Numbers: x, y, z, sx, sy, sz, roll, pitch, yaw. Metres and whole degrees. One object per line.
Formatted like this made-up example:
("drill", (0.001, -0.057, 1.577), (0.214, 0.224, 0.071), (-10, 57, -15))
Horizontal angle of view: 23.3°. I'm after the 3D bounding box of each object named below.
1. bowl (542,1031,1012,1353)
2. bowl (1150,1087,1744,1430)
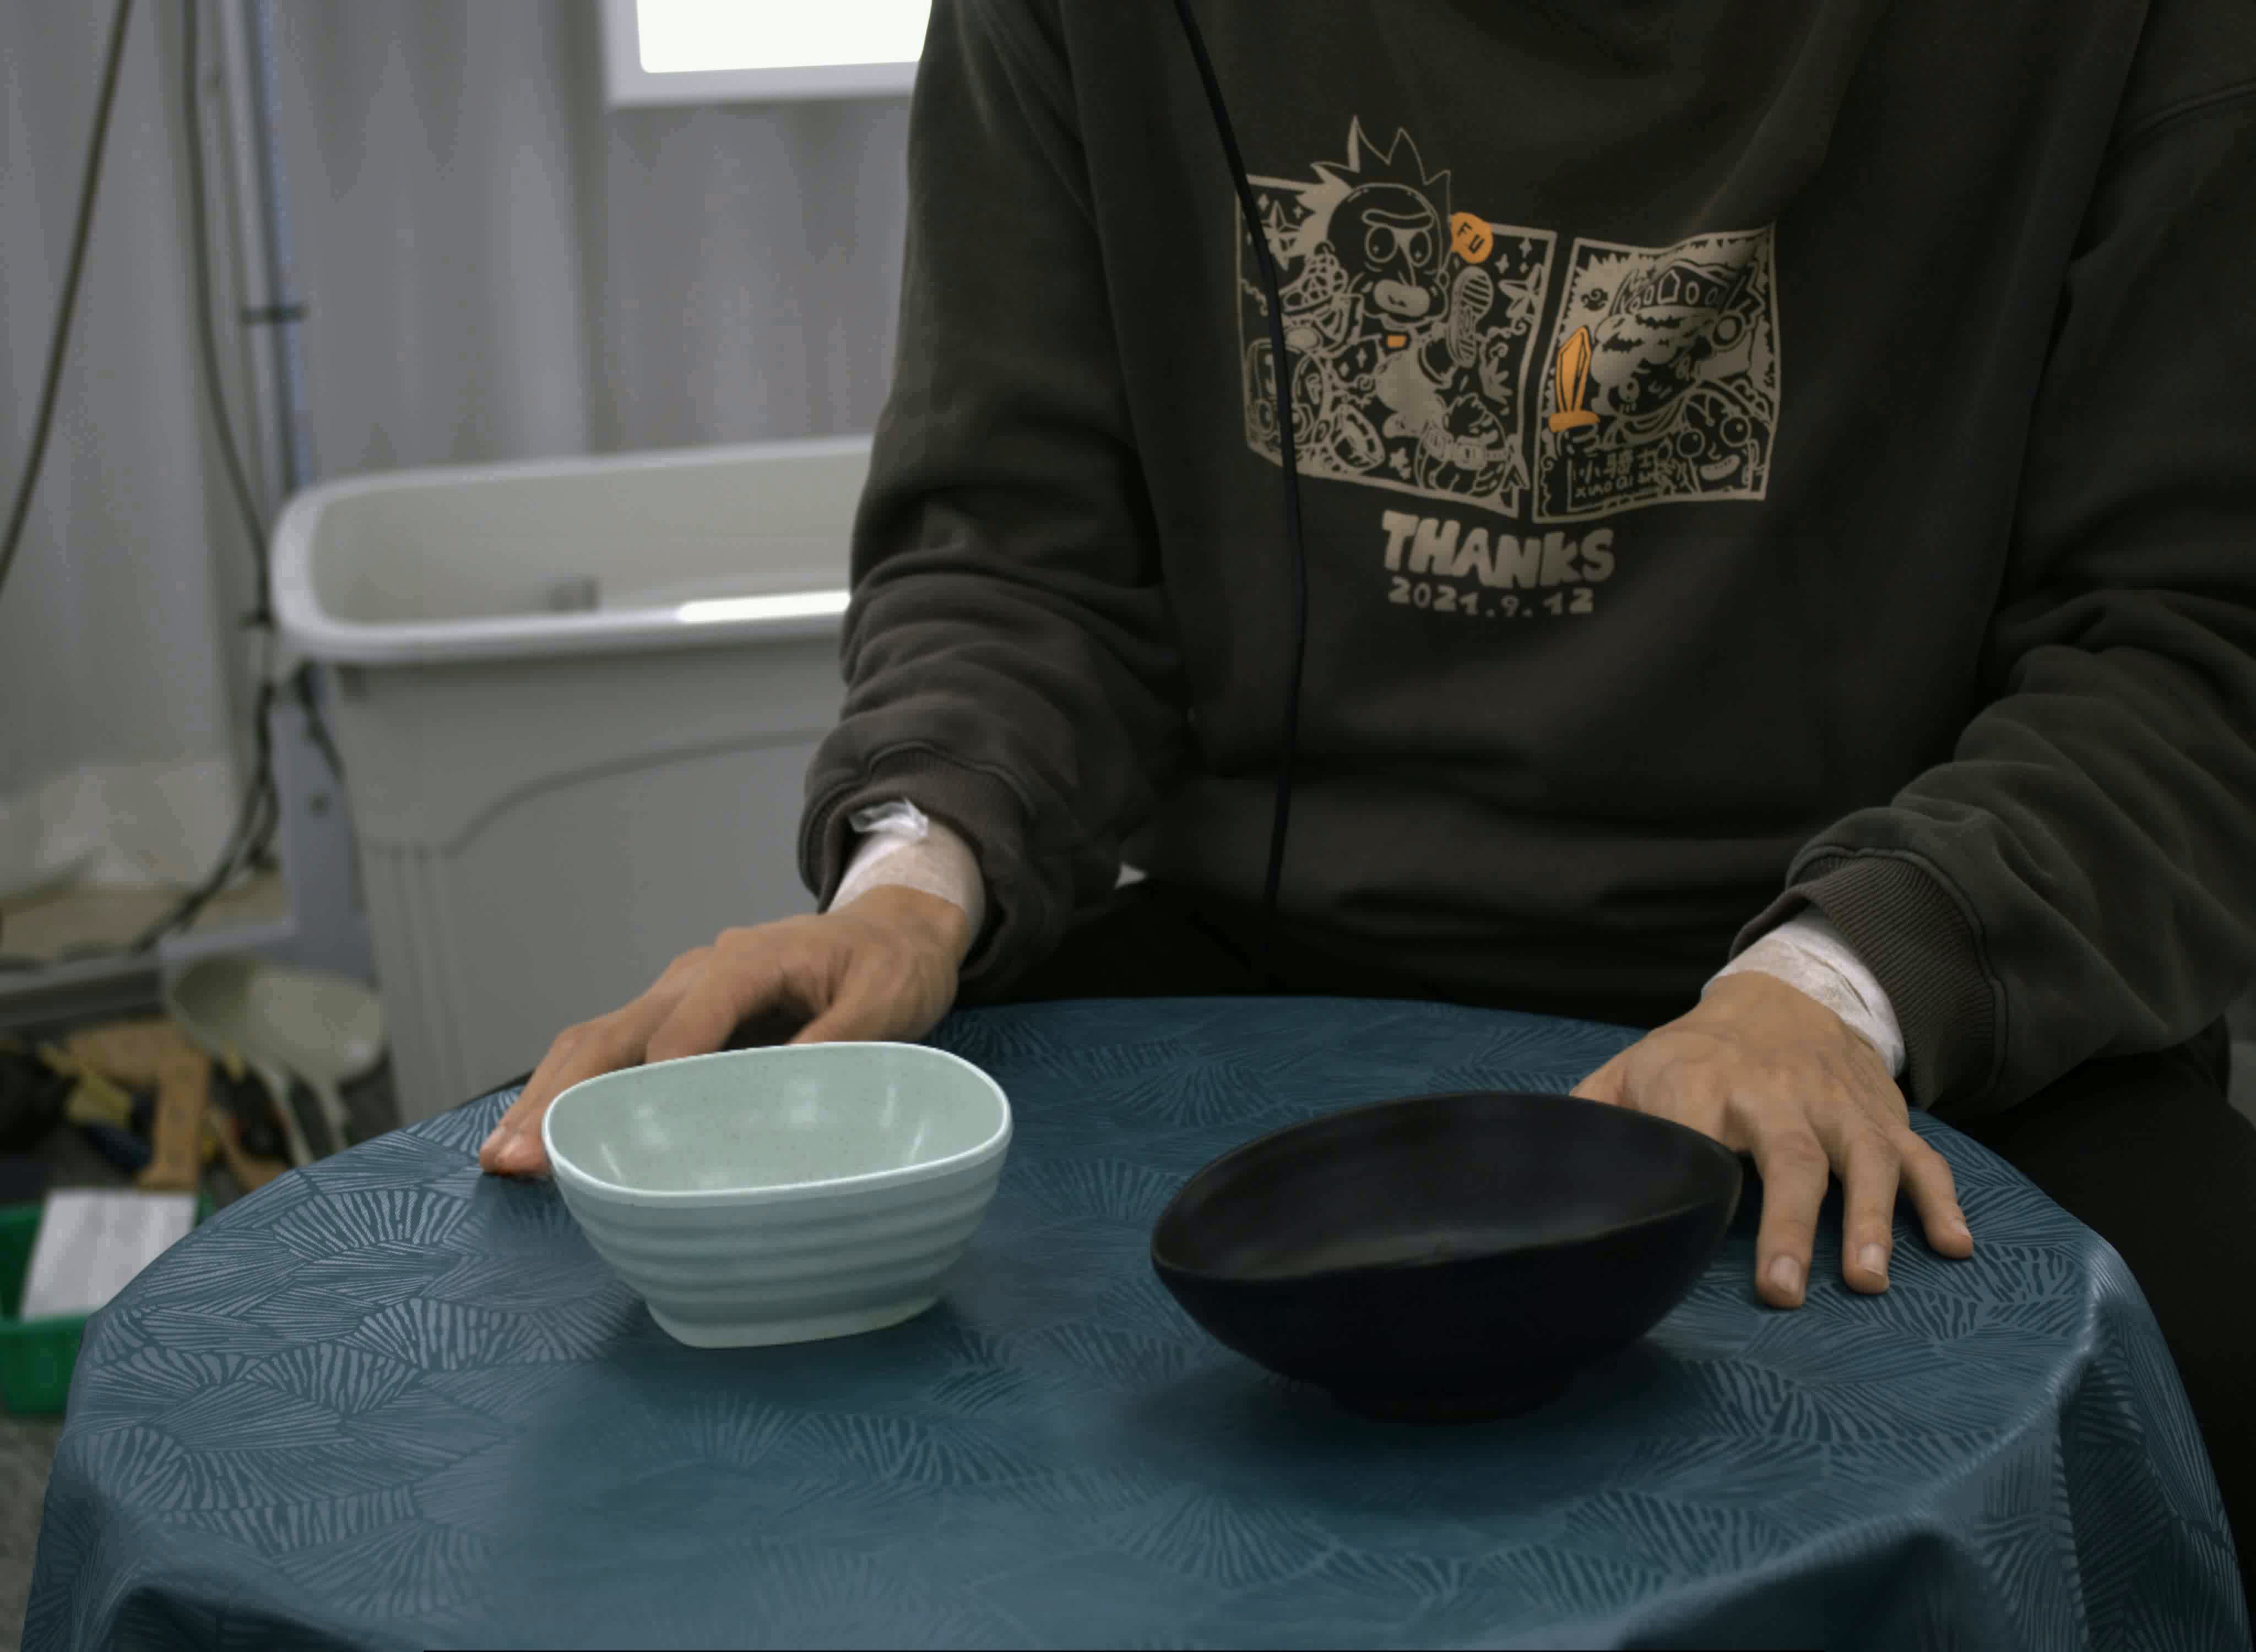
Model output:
("bowl", (-0.103, 0.113, 1.637), (0.151, 0.058, 0.152), (-3, 17, 1))
("bowl", (0.092, 0.128, 1.535), (0.169, 0.066, 0.138), (-8, 16, -15))
